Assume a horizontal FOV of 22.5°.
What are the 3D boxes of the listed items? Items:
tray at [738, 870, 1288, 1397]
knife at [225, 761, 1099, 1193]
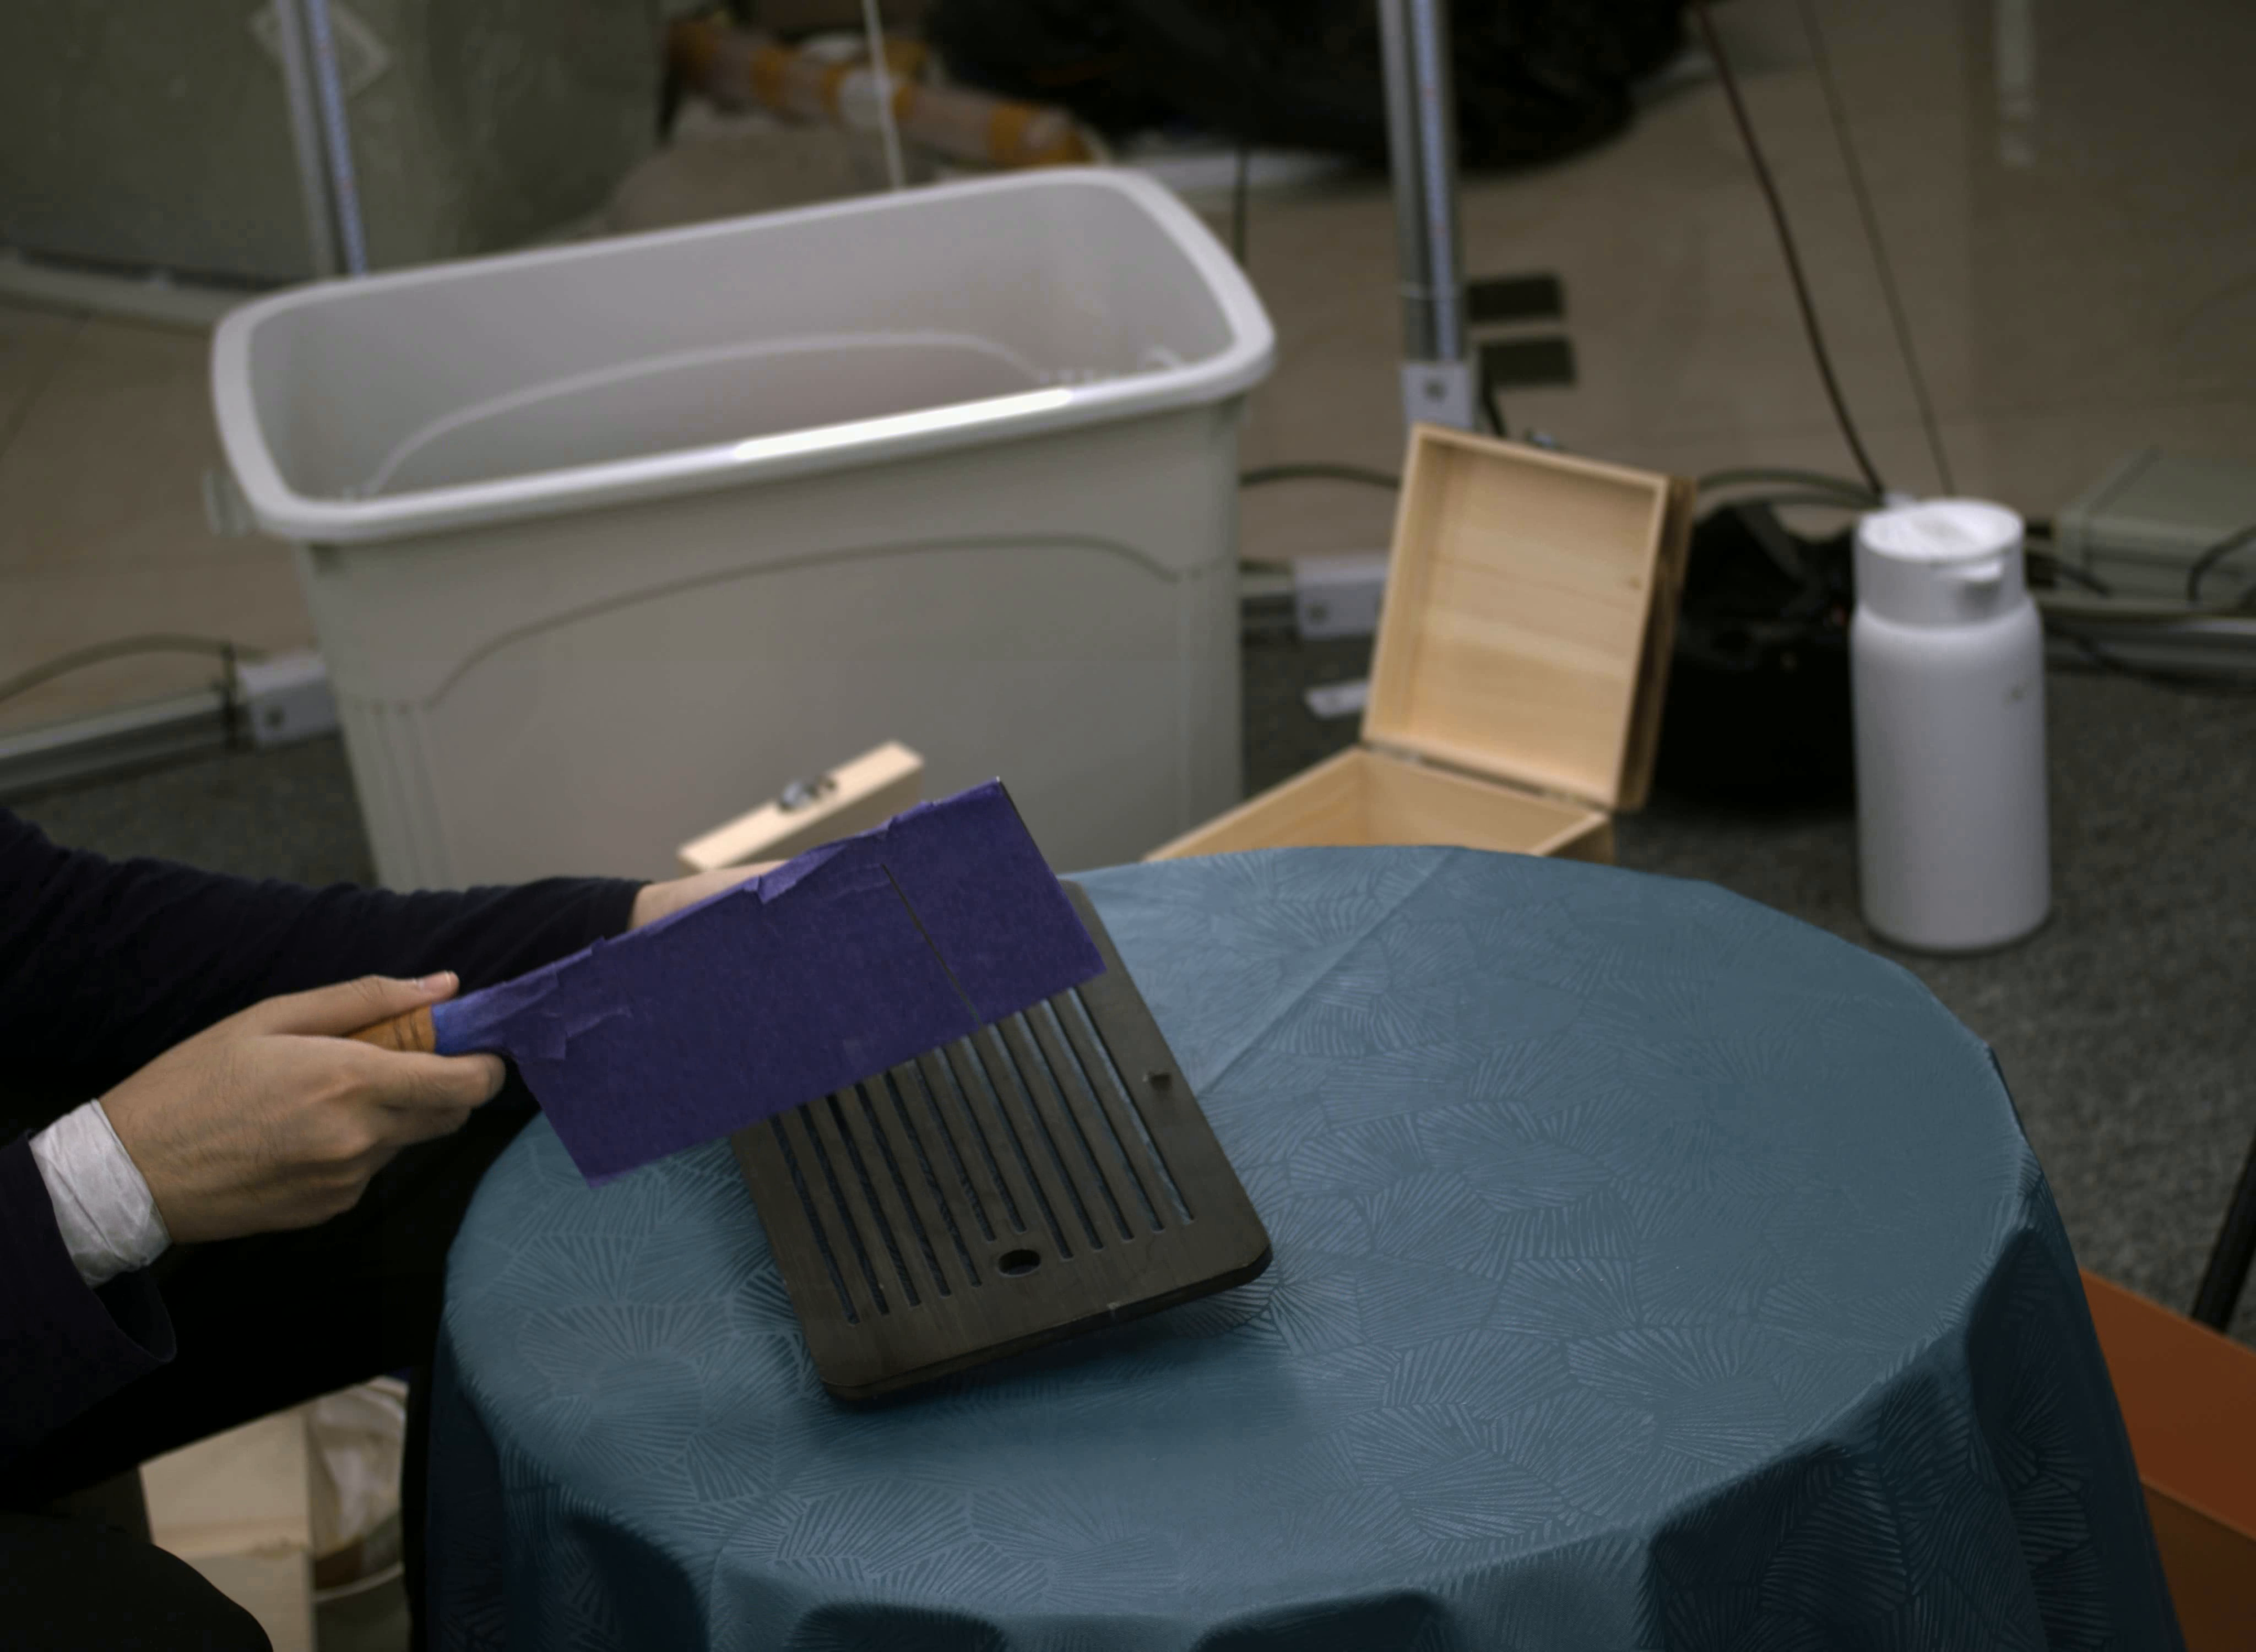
[{"bbox_3d":[-0.058,0.114,2.152,0.169,0.019,0.301,-17,31,-7],"label":"tray"},{"bbox_3d":[-0.165,0.079,2.011,0.316,0.105,0.031,-23,26,14],"label":"knife"}]
